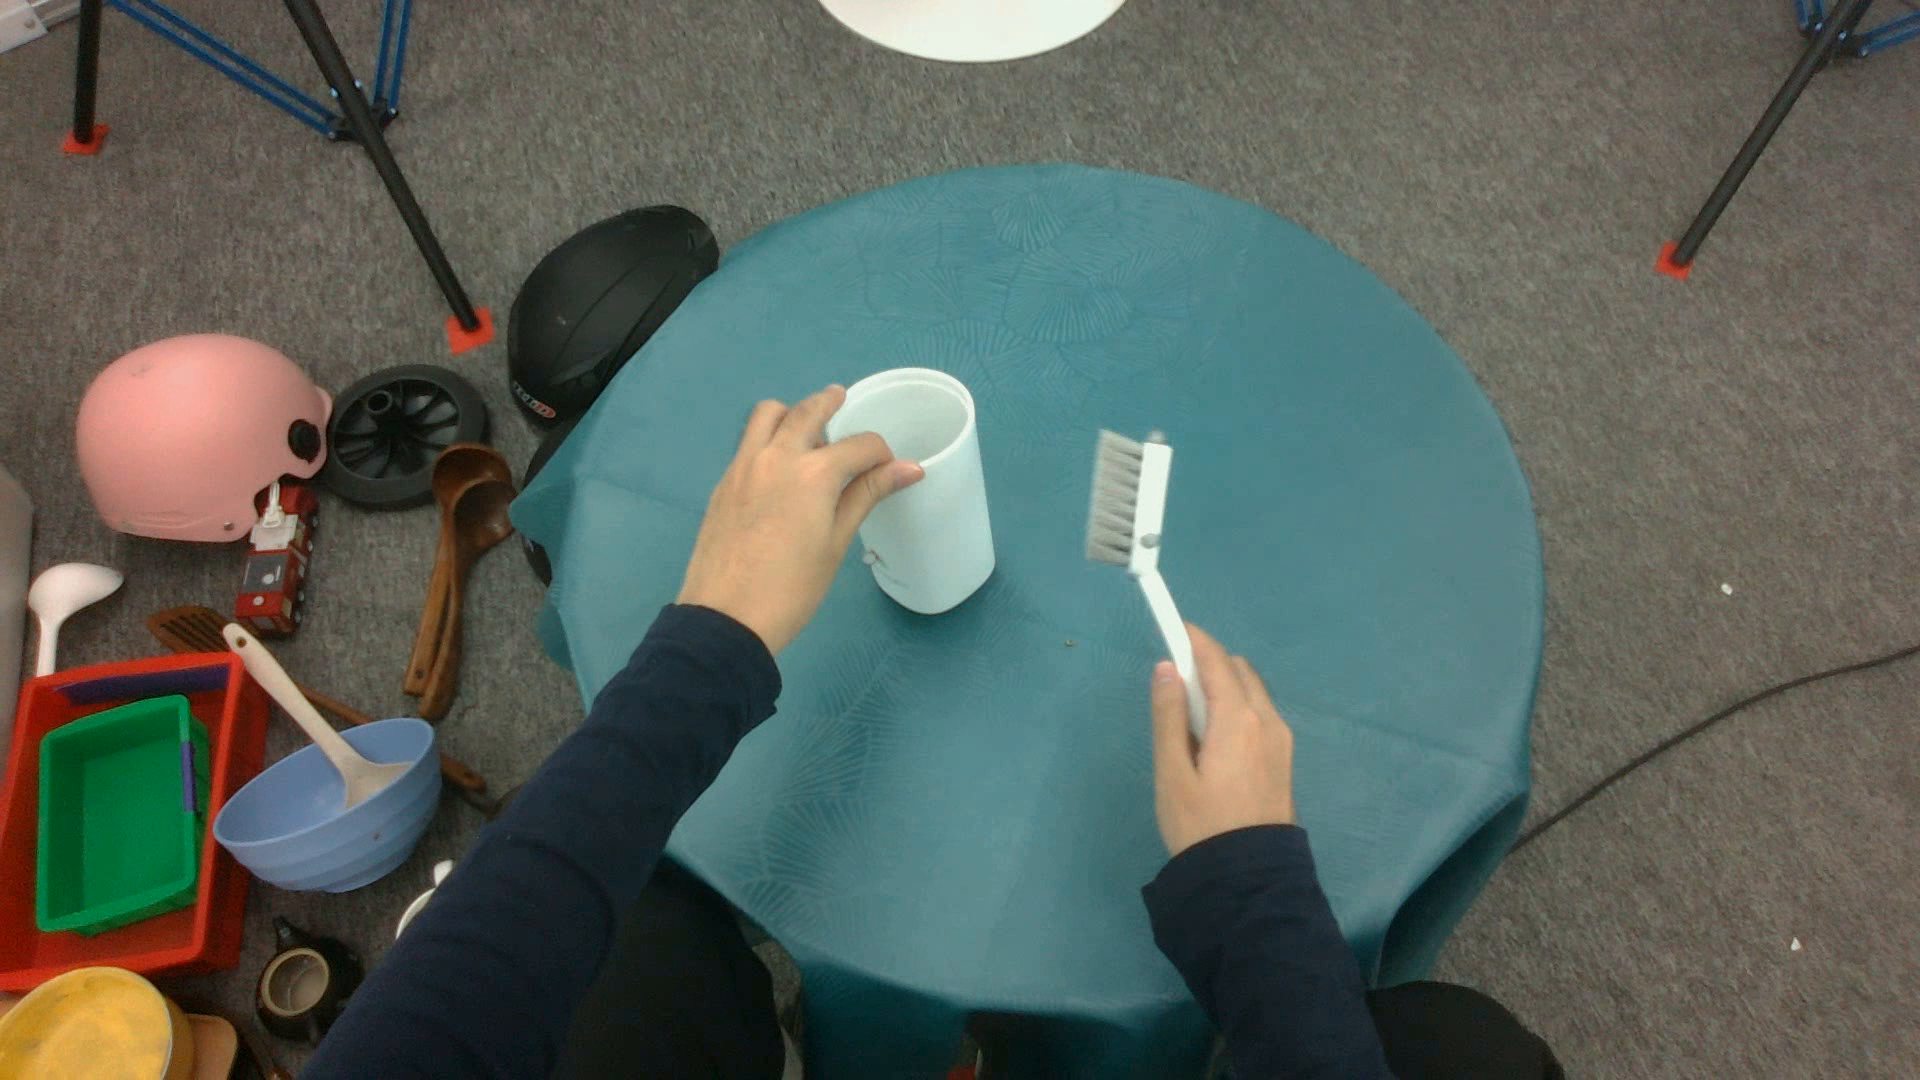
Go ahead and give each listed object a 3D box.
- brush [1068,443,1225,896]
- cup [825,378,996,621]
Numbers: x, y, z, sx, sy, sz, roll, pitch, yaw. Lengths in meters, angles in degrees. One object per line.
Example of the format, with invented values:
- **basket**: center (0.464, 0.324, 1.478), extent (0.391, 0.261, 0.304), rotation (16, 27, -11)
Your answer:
- **brush**: center (0.093, 0.068, 0.716), extent (0.050, 0.034, 0.243), rotation (-11, 88, -5)
- **cup**: center (-0.025, -0.020, 0.792), extent (0.081, 0.125, 0.082), rotation (-6, 47, 7)
